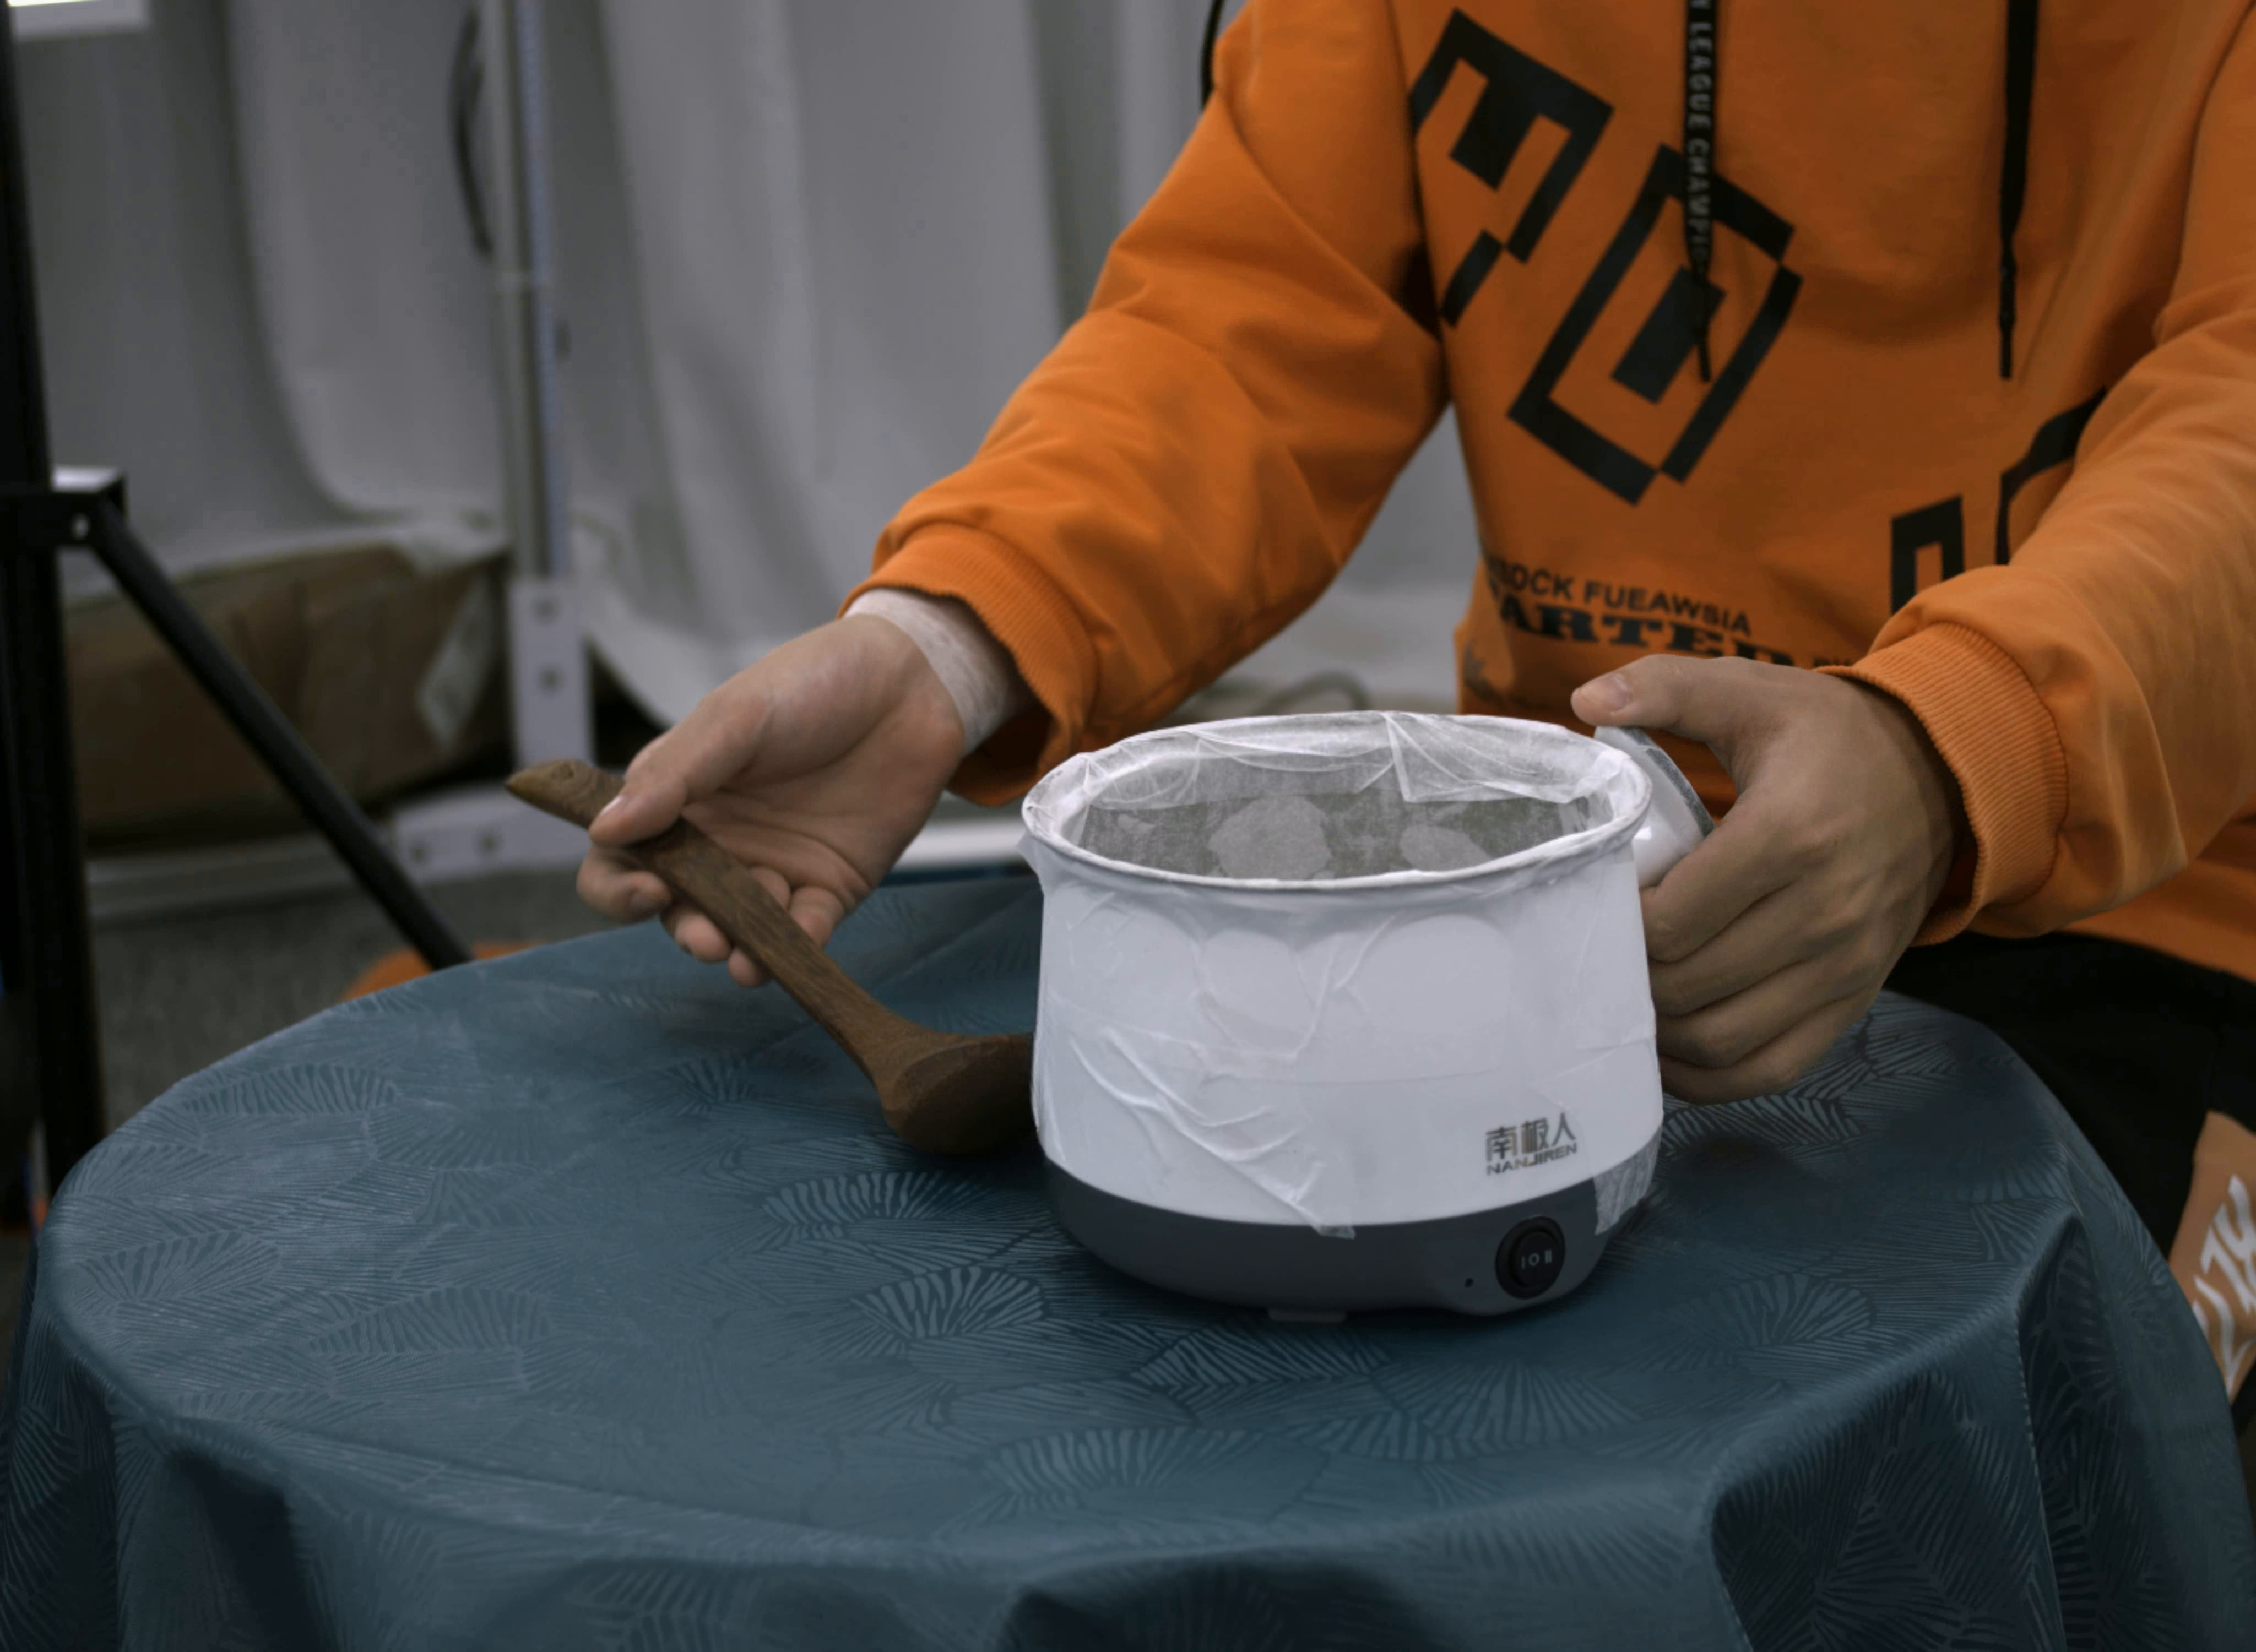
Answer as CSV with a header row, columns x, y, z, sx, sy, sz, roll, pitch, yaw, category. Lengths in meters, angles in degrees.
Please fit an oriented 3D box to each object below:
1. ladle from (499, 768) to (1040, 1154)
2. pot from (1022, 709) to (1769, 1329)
x,y,z,sx,sy,sz,roll,pitch,yaw,category
-0.109,0.022,1.659,0.074,0.071,0.280,-20,40,-35,ladle
0.084,0.047,1.507,0.228,0.136,0.183,-12,19,-31,pot
